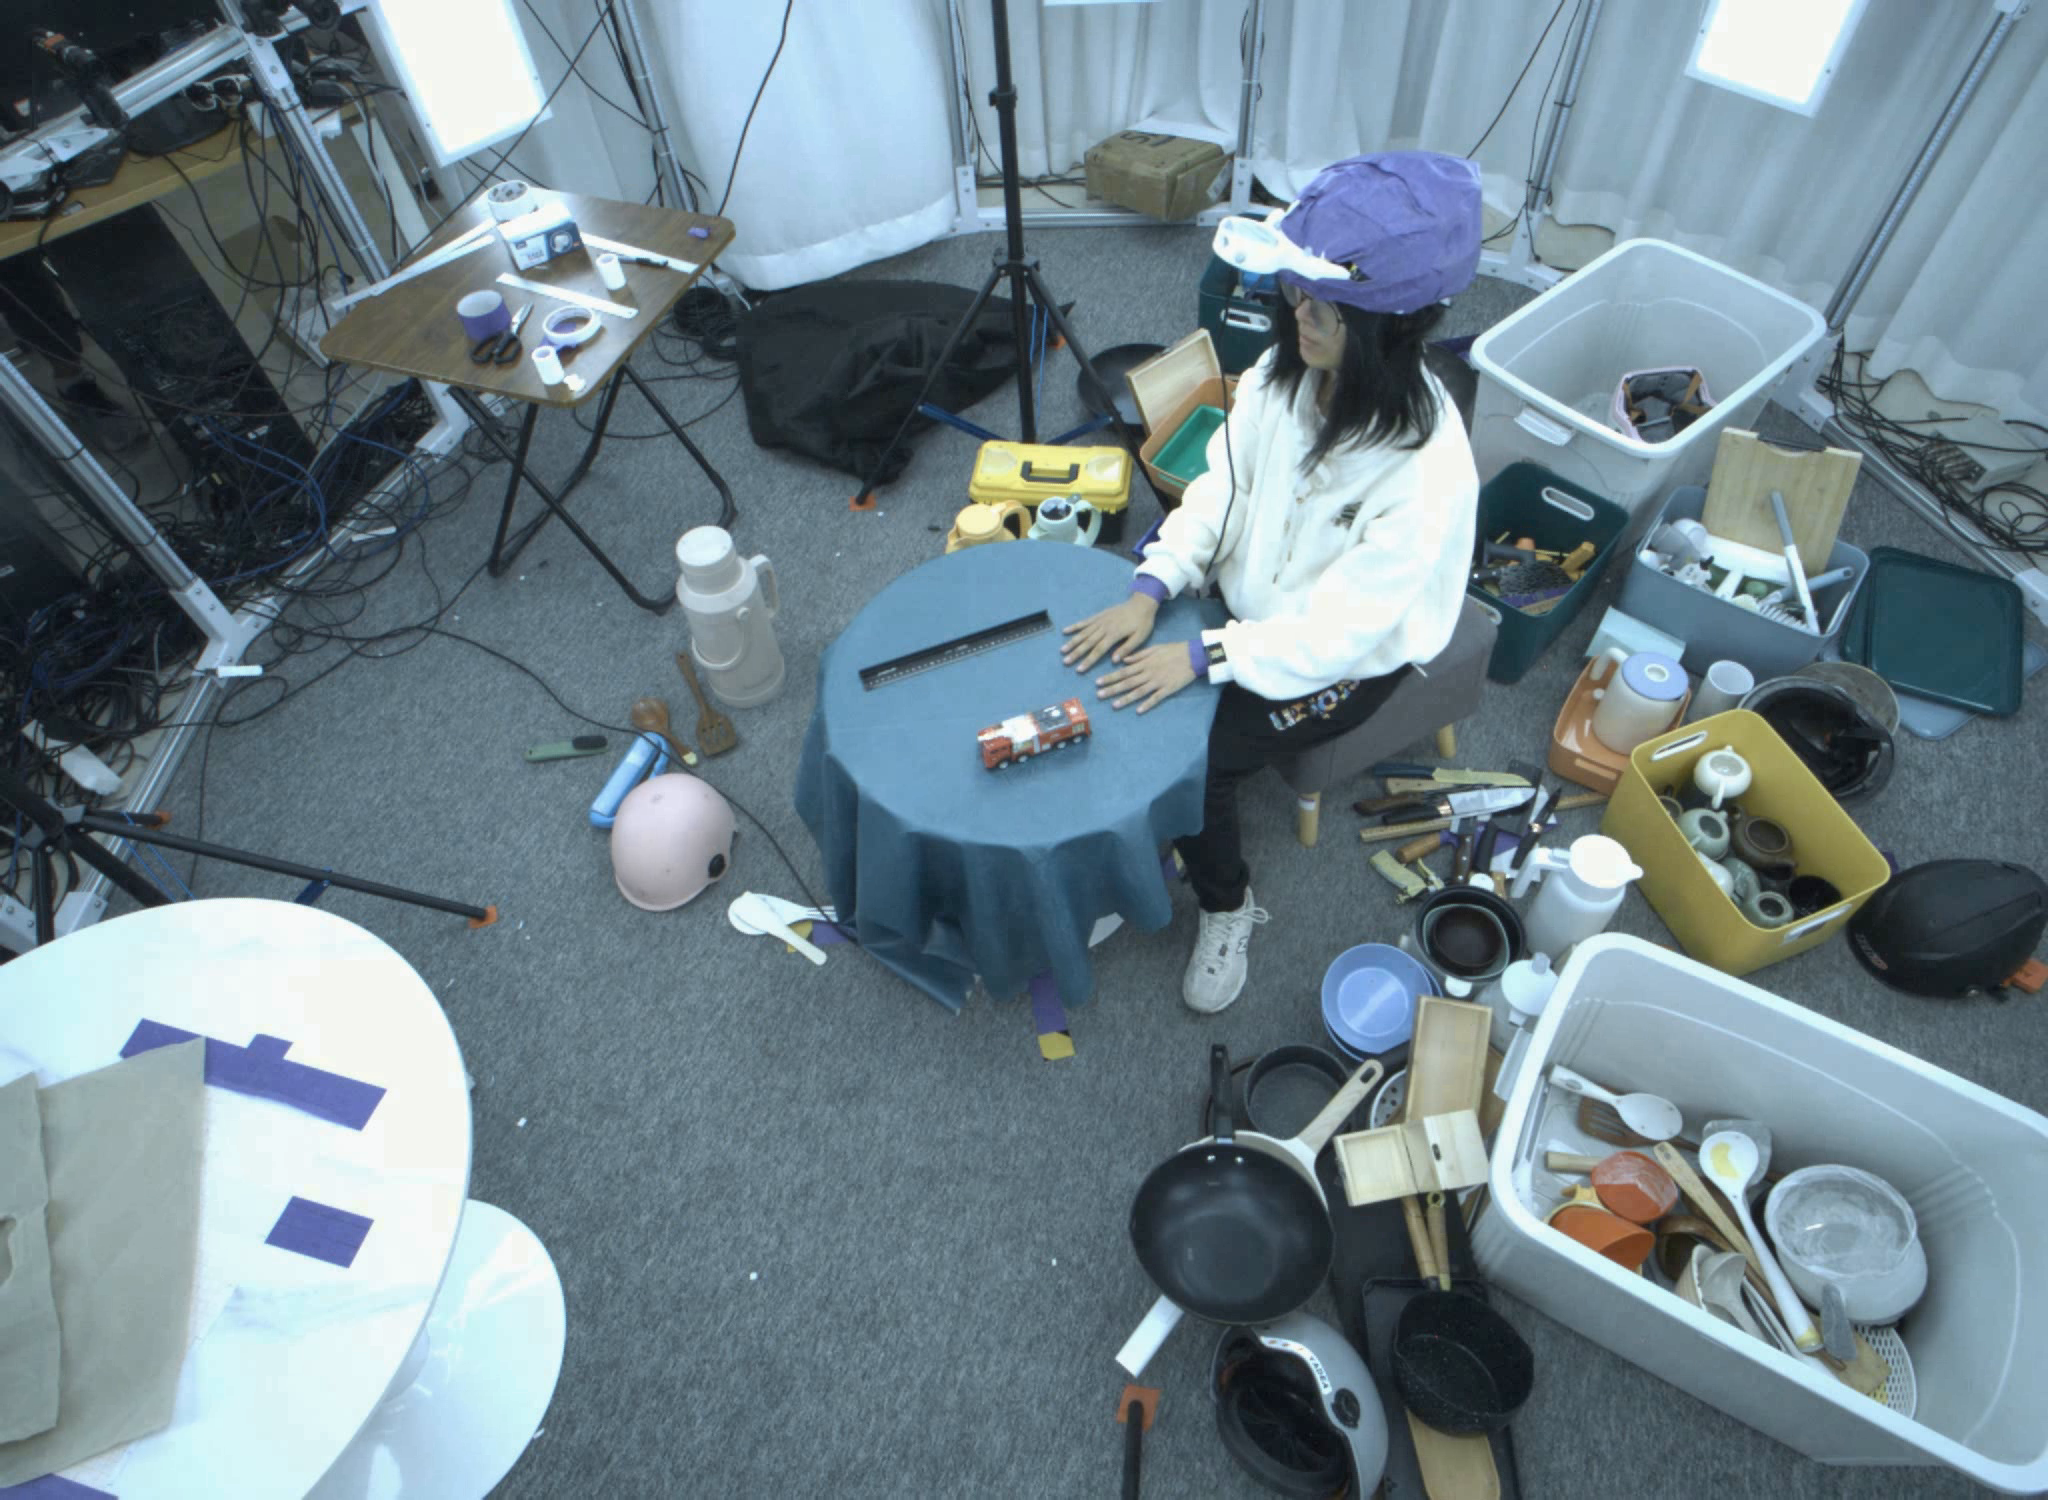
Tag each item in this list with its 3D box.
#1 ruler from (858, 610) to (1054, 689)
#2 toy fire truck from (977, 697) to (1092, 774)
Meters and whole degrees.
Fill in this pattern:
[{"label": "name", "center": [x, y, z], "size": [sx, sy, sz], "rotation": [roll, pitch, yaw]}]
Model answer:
[{"label": "ruler", "center": [-0.105, -0.158, 1.893], "size": [0.315, 0.017, 0.038], "rotation": [-18, 60, -11]}, {"label": "toy fire truck", "center": [0.013, -0.022, 1.767], "size": [0.169, 0.071, 0.053], "rotation": [-18, 55, -12]}]
